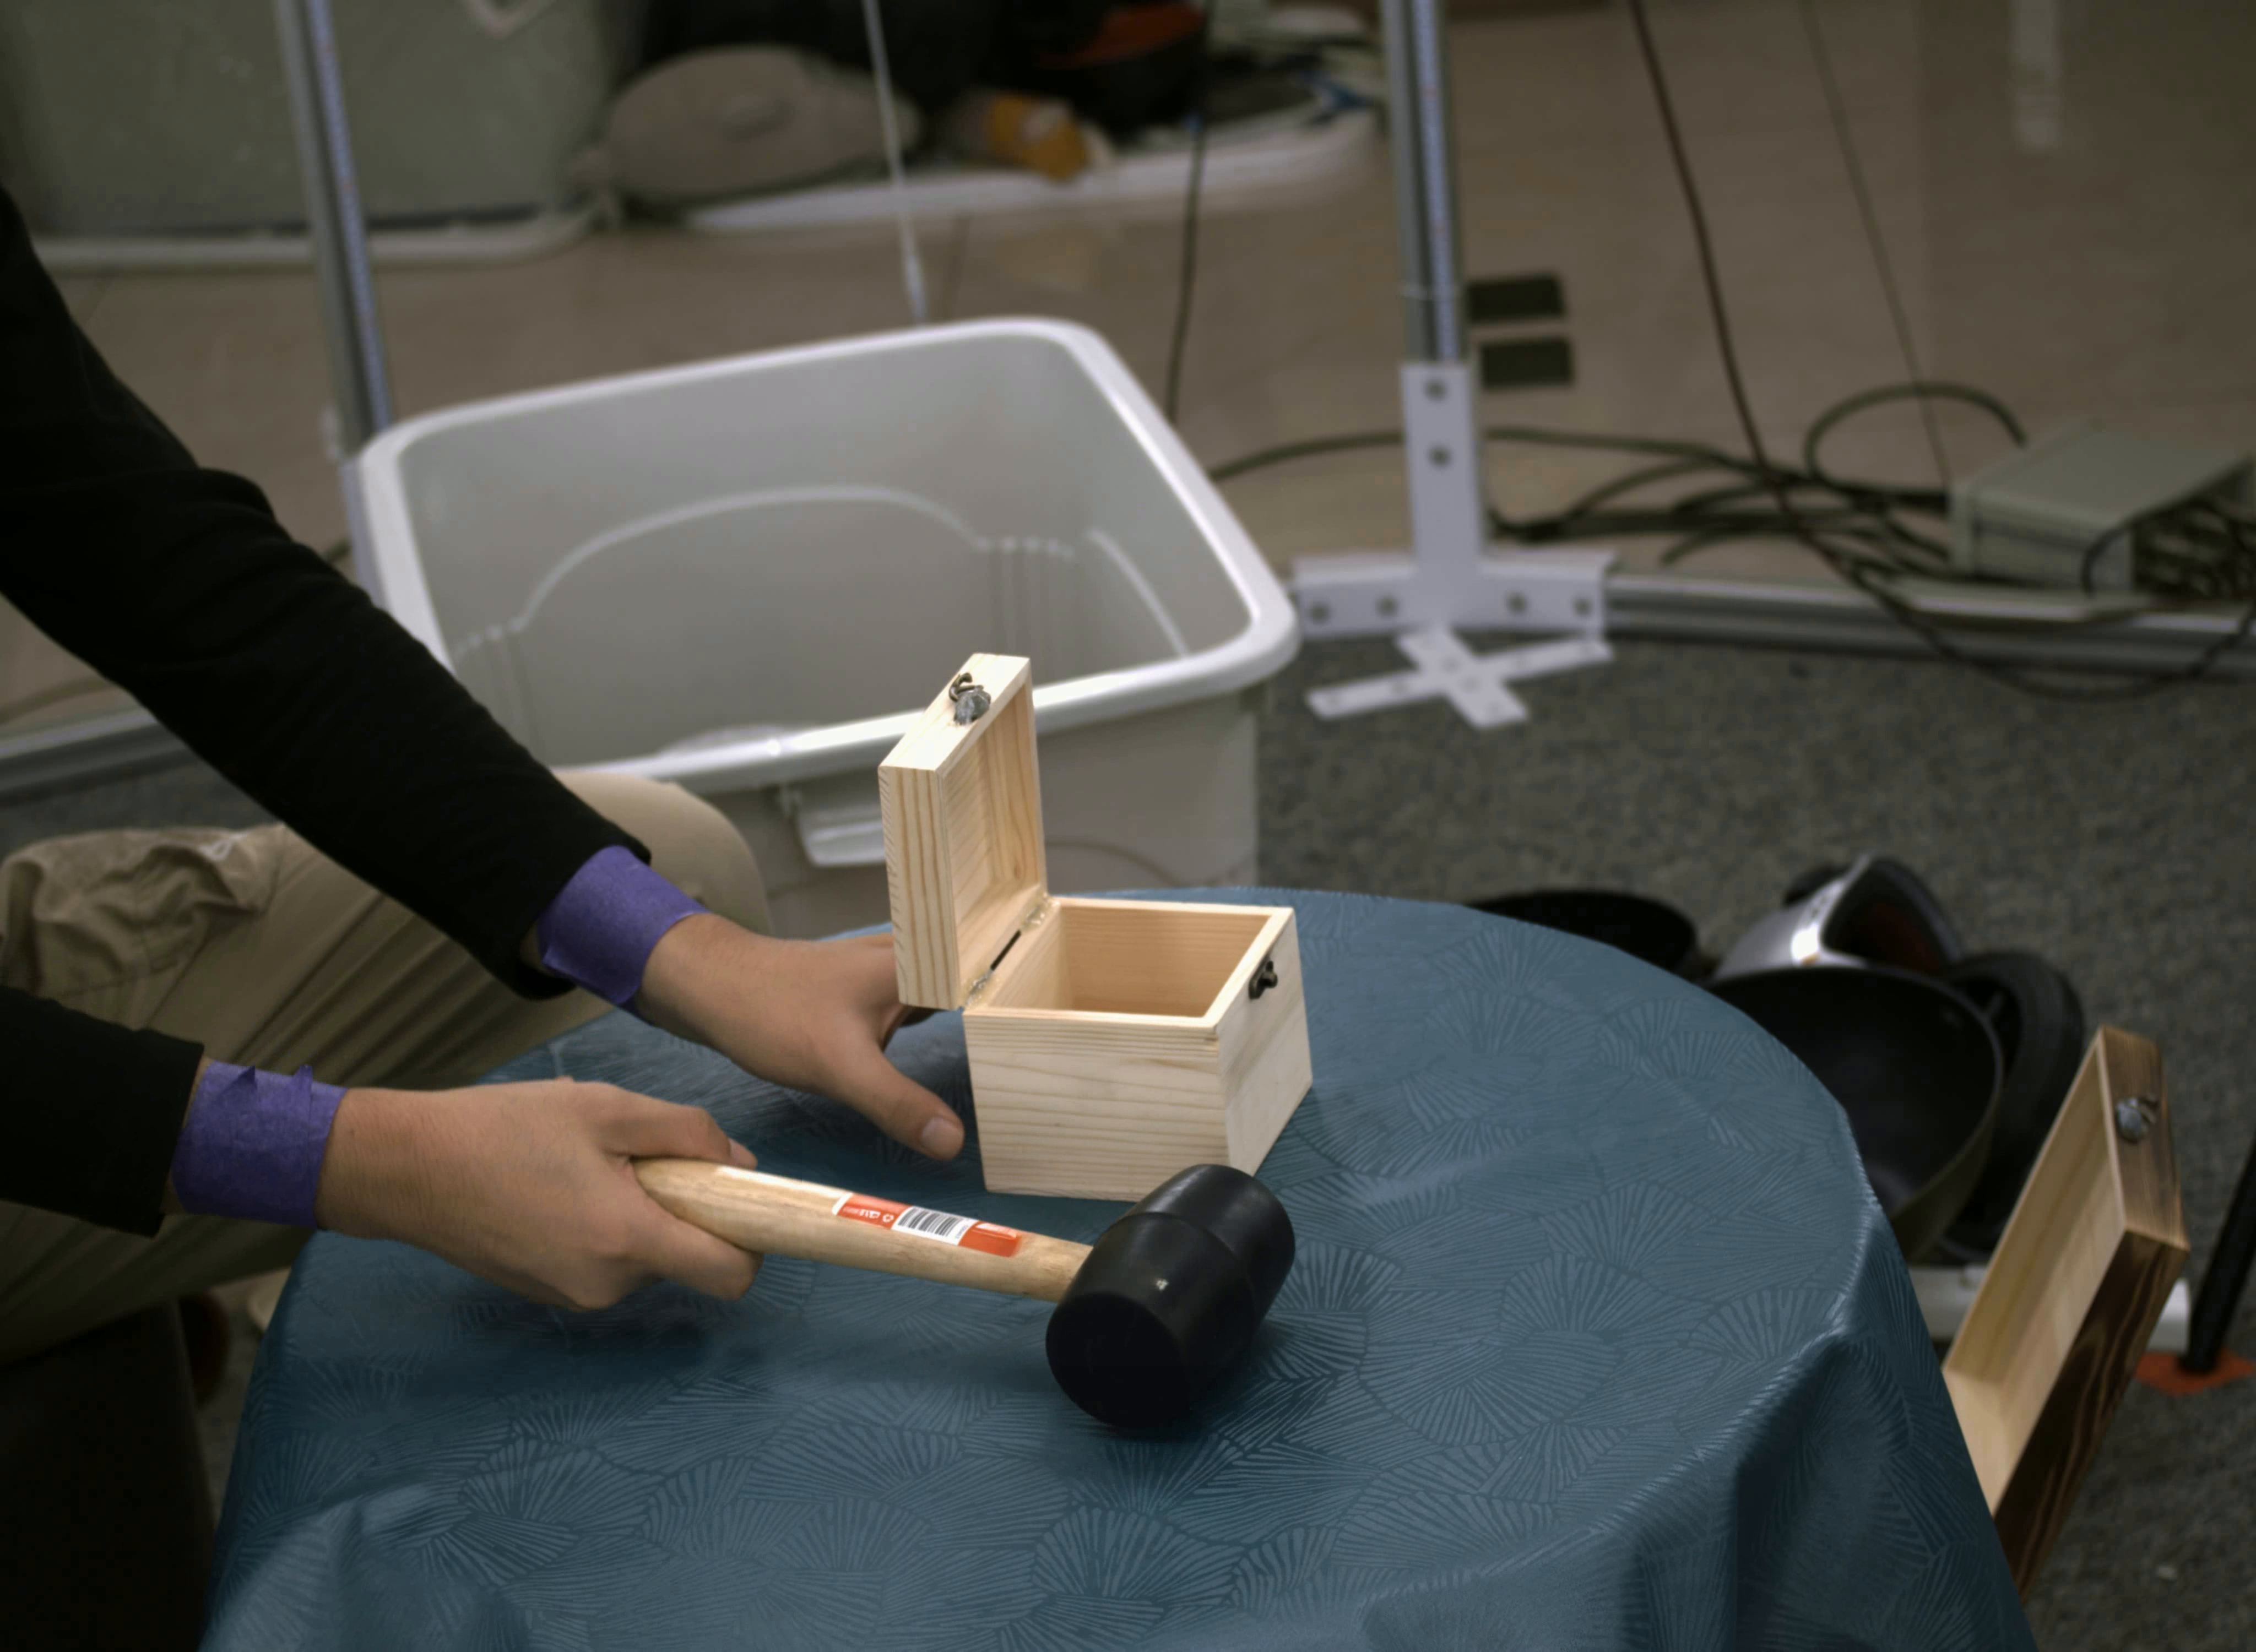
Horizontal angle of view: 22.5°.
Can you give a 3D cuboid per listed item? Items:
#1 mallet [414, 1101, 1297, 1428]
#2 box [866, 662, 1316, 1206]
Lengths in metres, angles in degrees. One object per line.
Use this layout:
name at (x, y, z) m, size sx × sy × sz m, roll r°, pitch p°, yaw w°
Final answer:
mallet at (-0.109, 0.138, 2.058) m, size 0.337 × 0.065 × 0.101 m, roll 14°, pitch 27°, yaw 22°
box at (-0.010, 0.039, 2.150) m, size 0.133 × 0.187 × 0.101 m, roll 1°, pitch 26°, yaw 21°
